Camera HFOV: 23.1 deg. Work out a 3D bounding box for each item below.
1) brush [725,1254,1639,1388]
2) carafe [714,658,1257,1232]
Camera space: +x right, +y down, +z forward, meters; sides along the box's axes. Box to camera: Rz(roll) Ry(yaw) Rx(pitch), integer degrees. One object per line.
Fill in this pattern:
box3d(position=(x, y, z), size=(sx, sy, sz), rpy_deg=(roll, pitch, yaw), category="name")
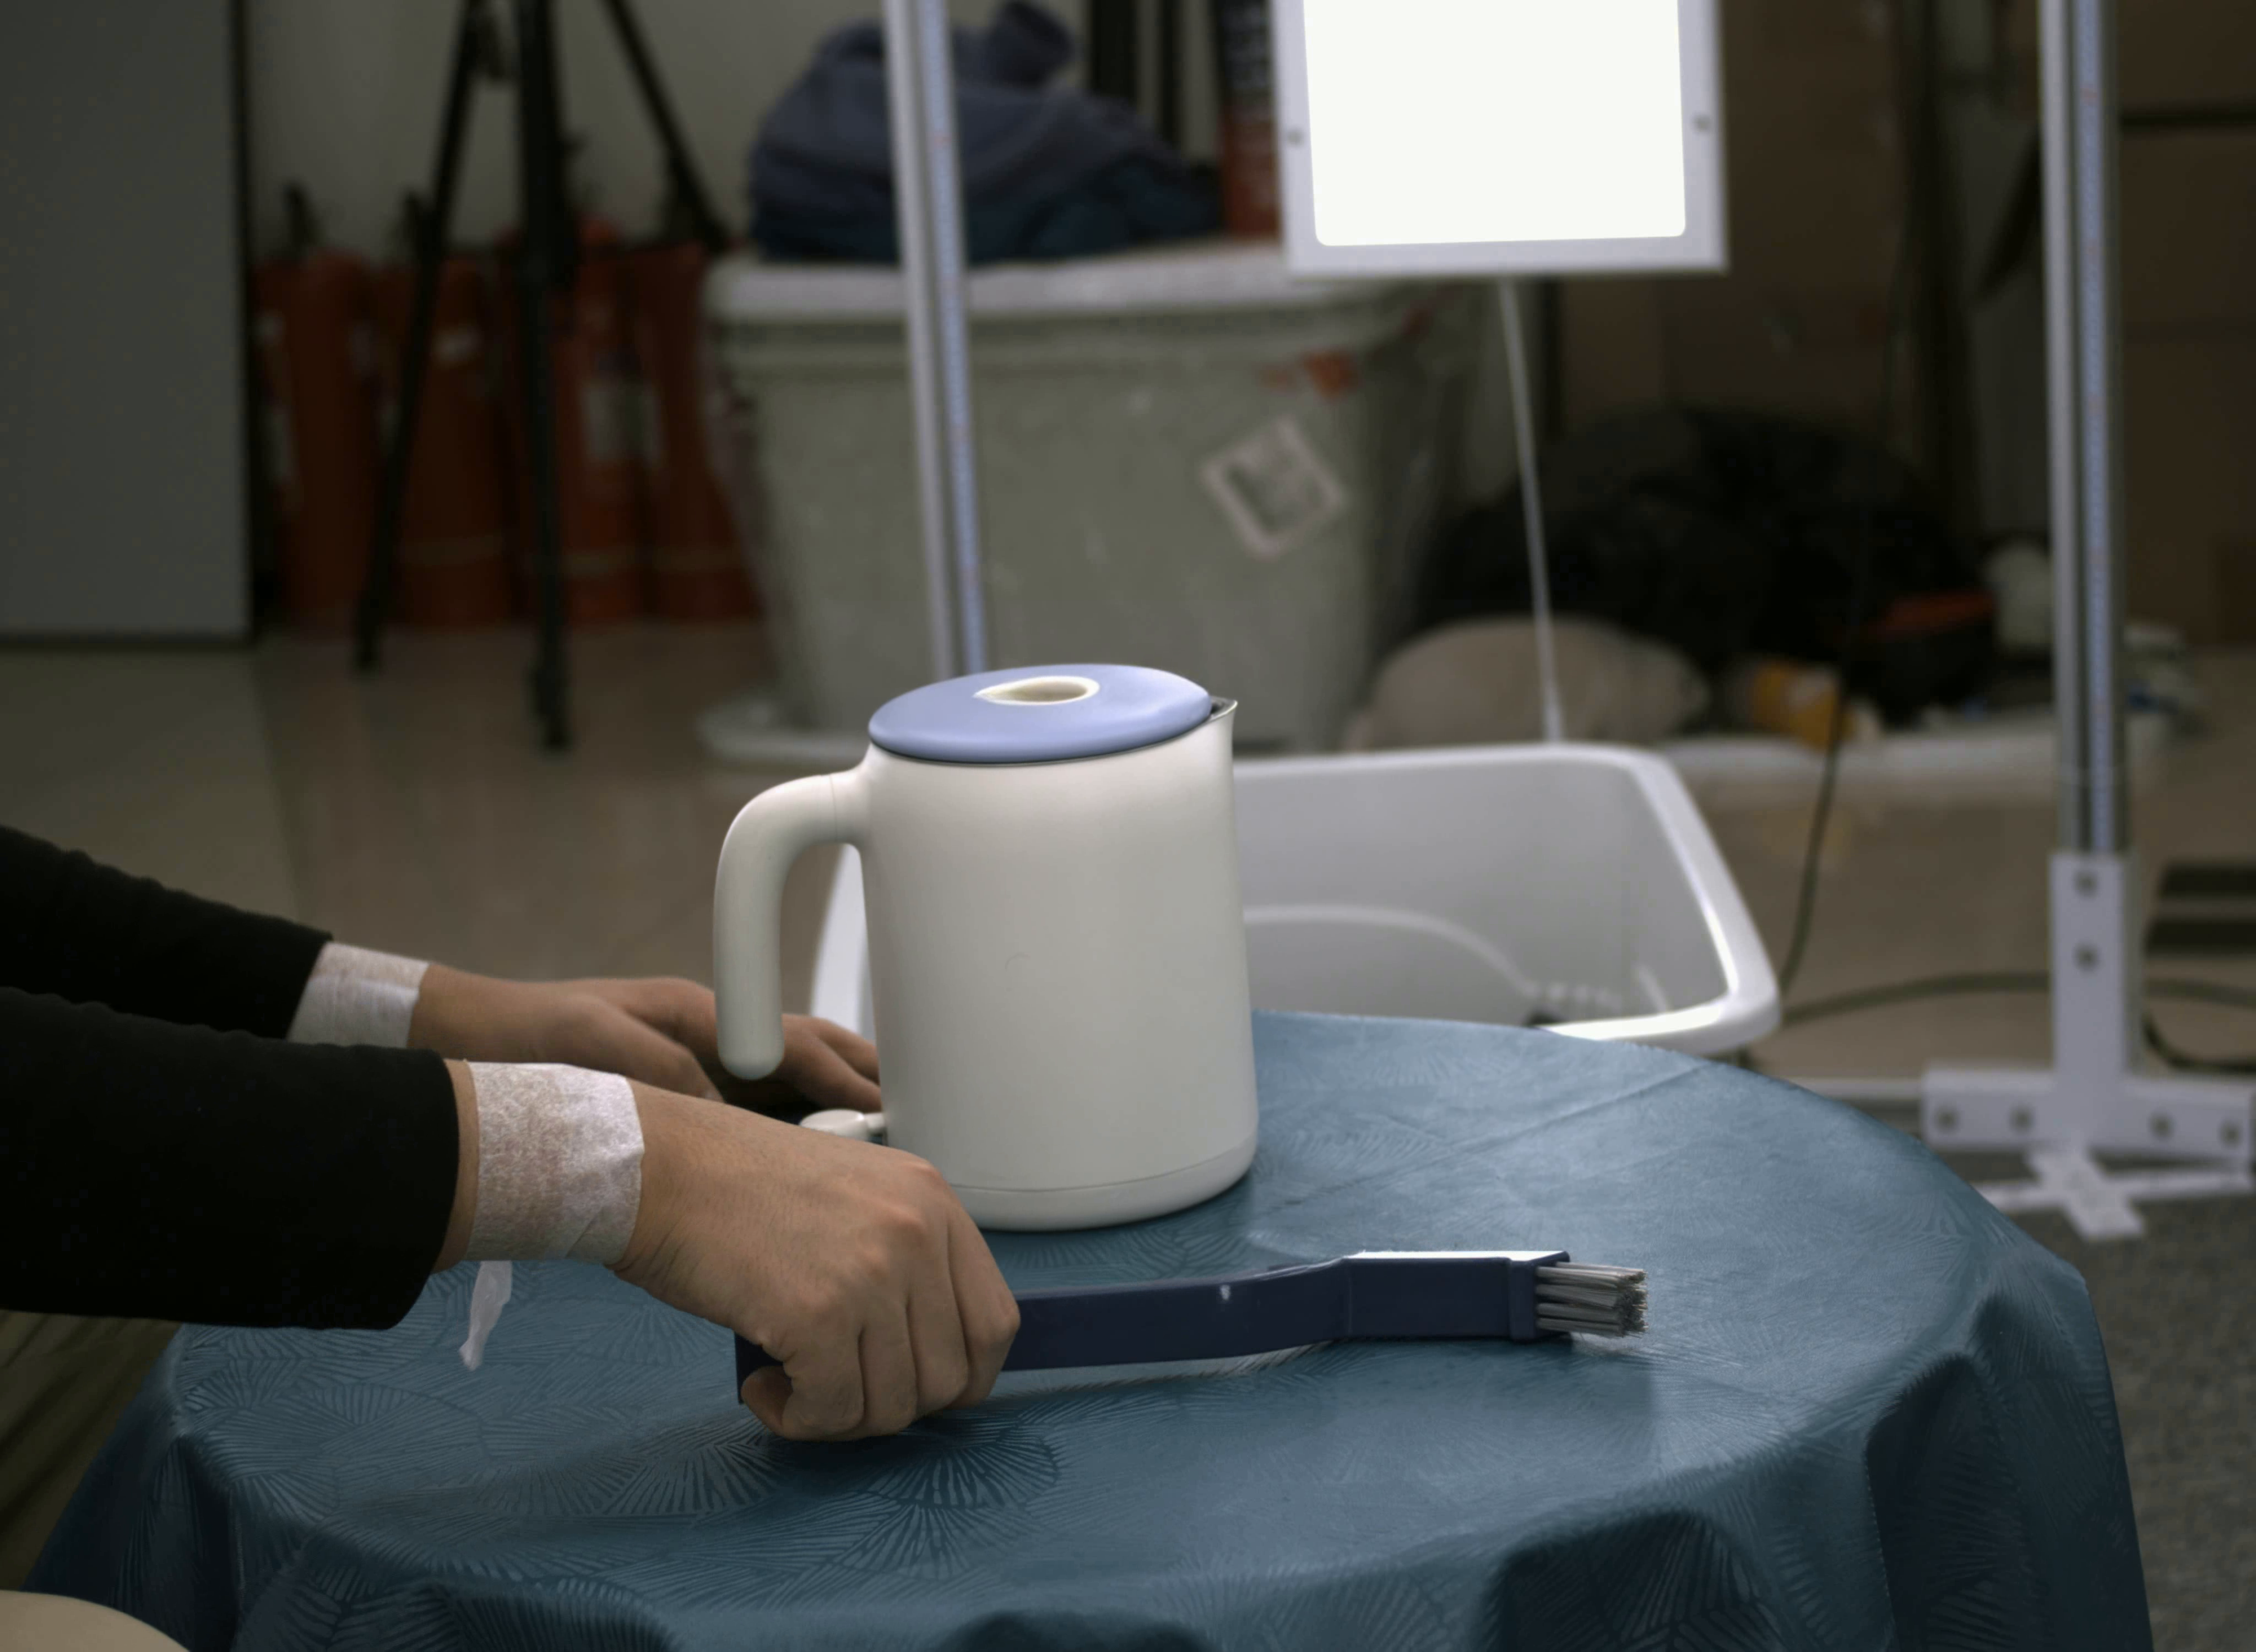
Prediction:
box3d(position=(0.015, 0.154, 1.701), size=(0.270, 0.033, 0.096), rpy_deg=(-5, 13, -11), category="brush")
box3d(position=(-0.049, 0.043, 1.895), size=(0.189, 0.183, 0.133), rpy_deg=(-8, 14, -7), category="carafe")
